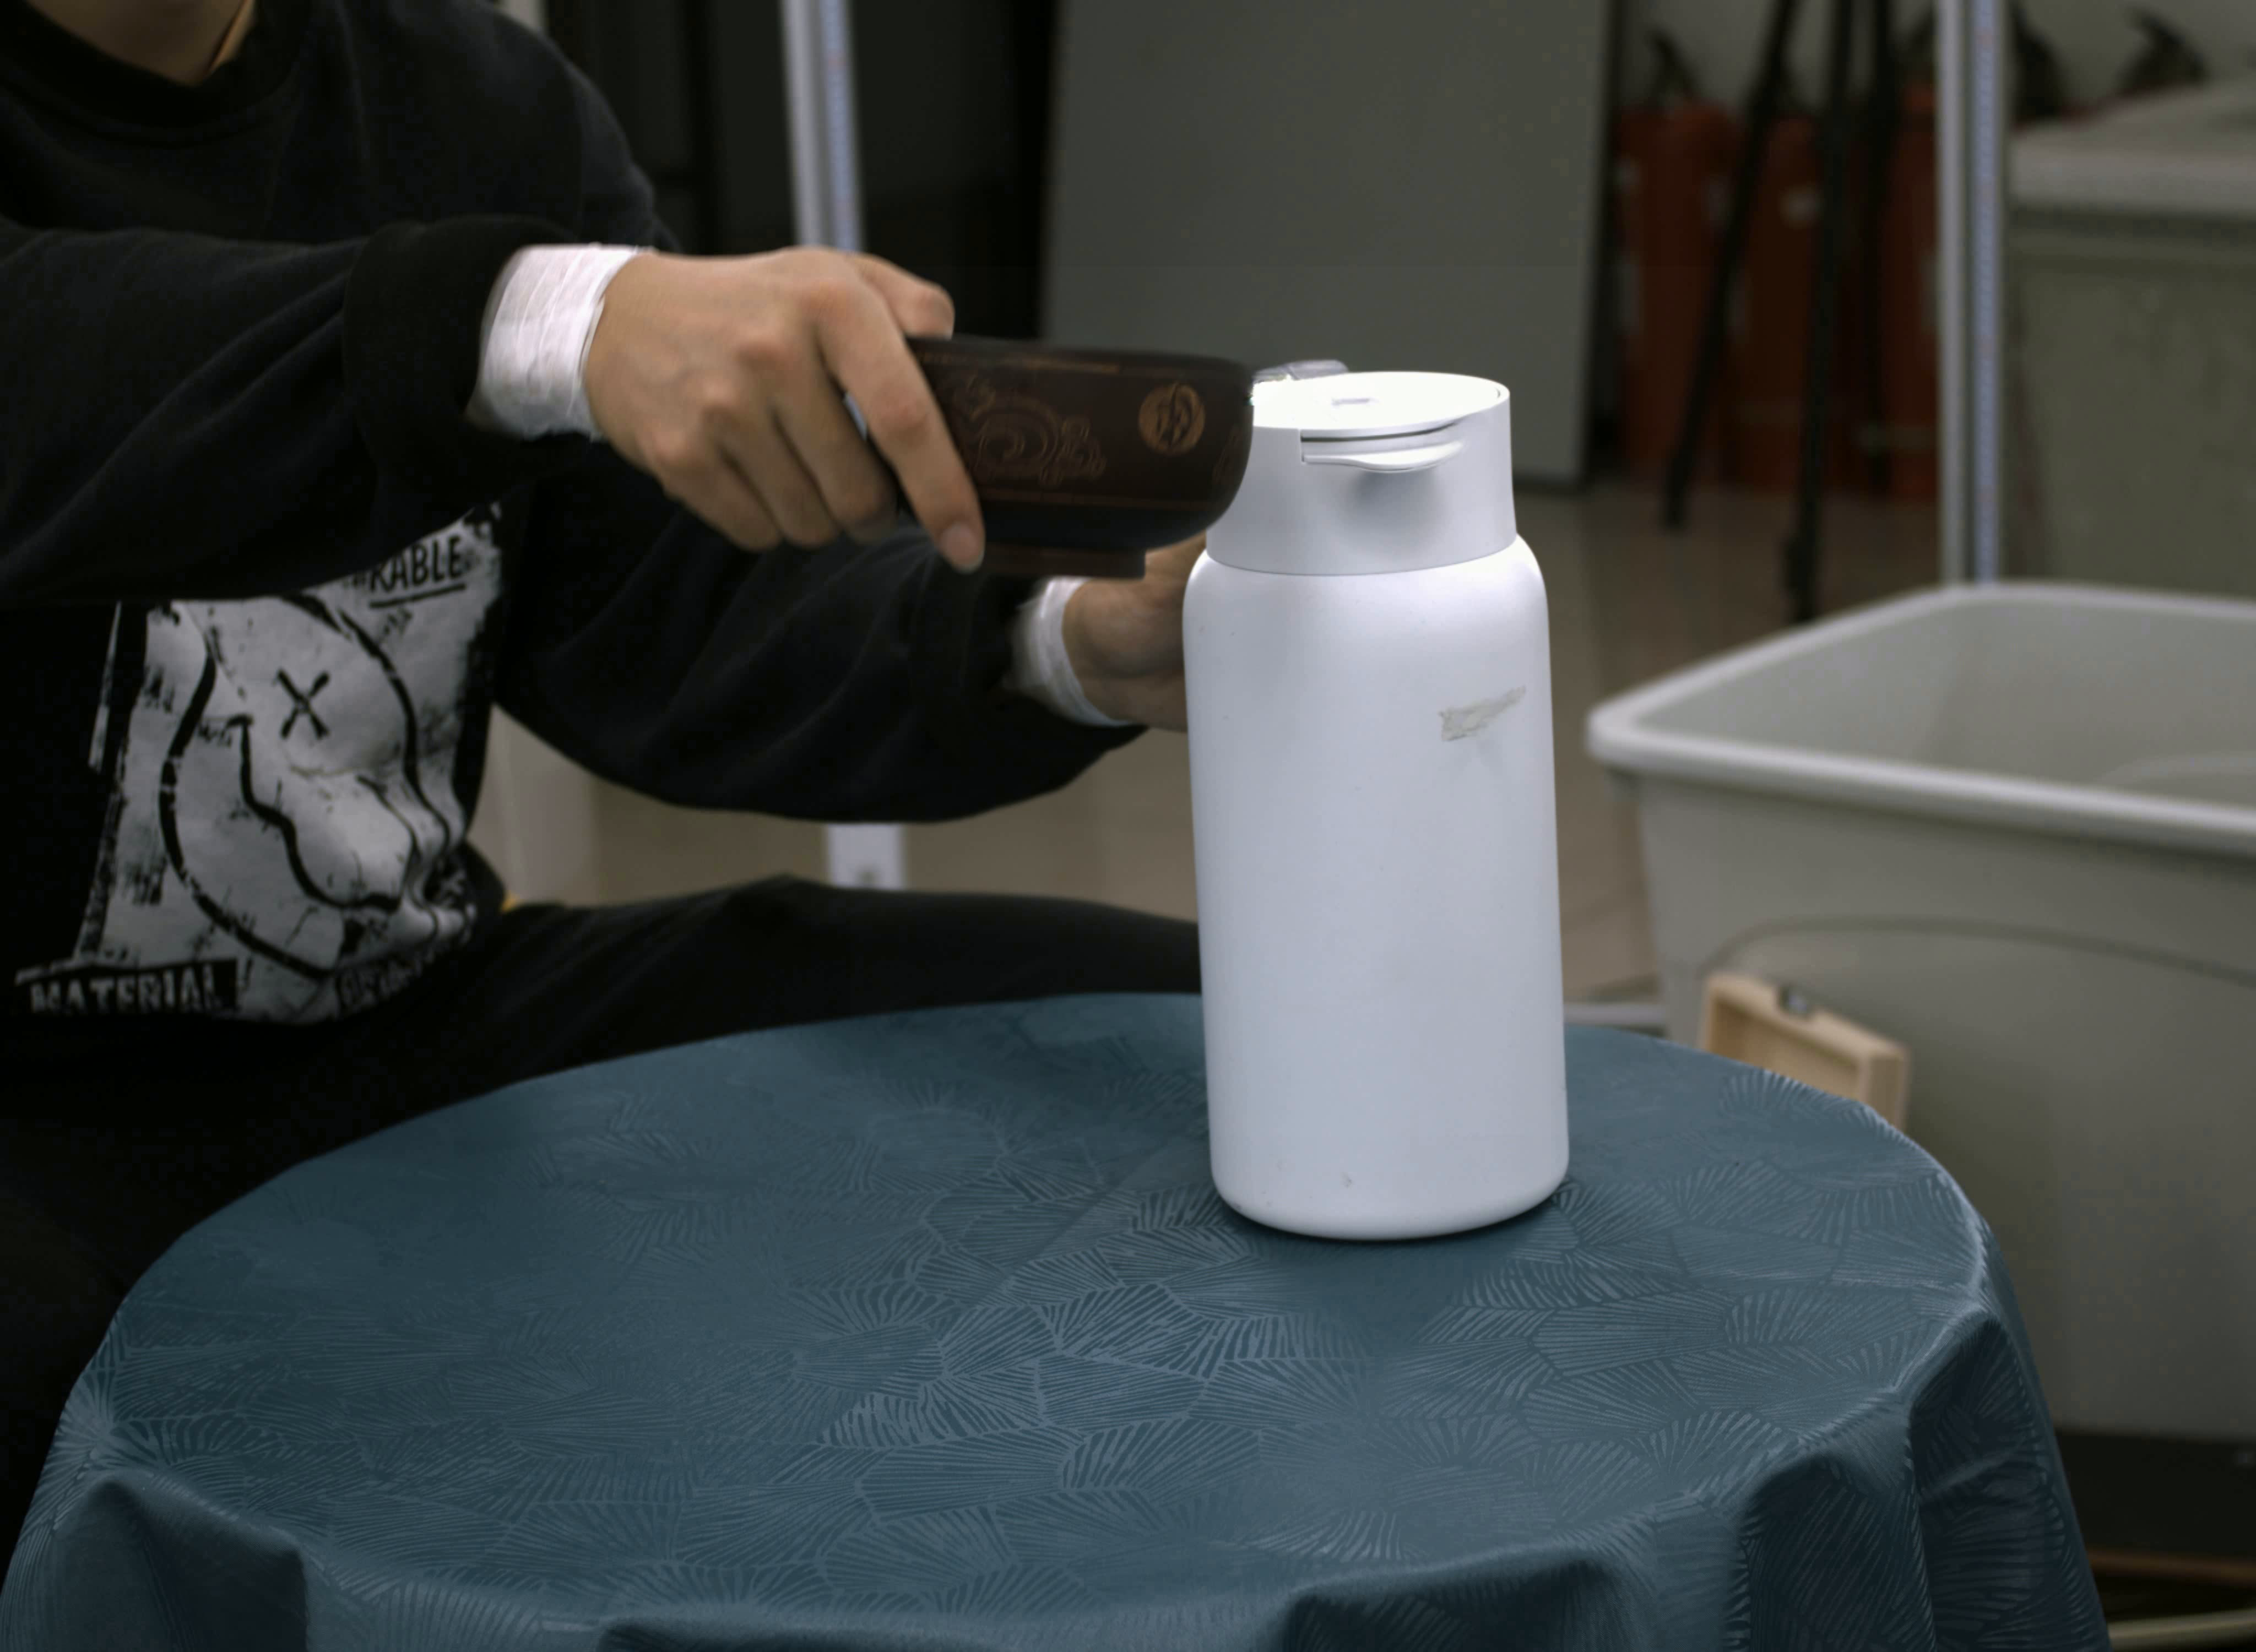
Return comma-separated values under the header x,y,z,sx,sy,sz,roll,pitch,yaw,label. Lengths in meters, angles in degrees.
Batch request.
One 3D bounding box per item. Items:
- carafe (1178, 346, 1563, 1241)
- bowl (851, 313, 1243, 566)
x,y,z,sx,sy,sz,roll,pitch,yaw,label
0.072,-0.014,1.739,0.122,0.272,0.174,-8,14,-10,carafe
-0.025,-0.113,1.597,0.116,0.071,0.118,3,4,-1,bowl
